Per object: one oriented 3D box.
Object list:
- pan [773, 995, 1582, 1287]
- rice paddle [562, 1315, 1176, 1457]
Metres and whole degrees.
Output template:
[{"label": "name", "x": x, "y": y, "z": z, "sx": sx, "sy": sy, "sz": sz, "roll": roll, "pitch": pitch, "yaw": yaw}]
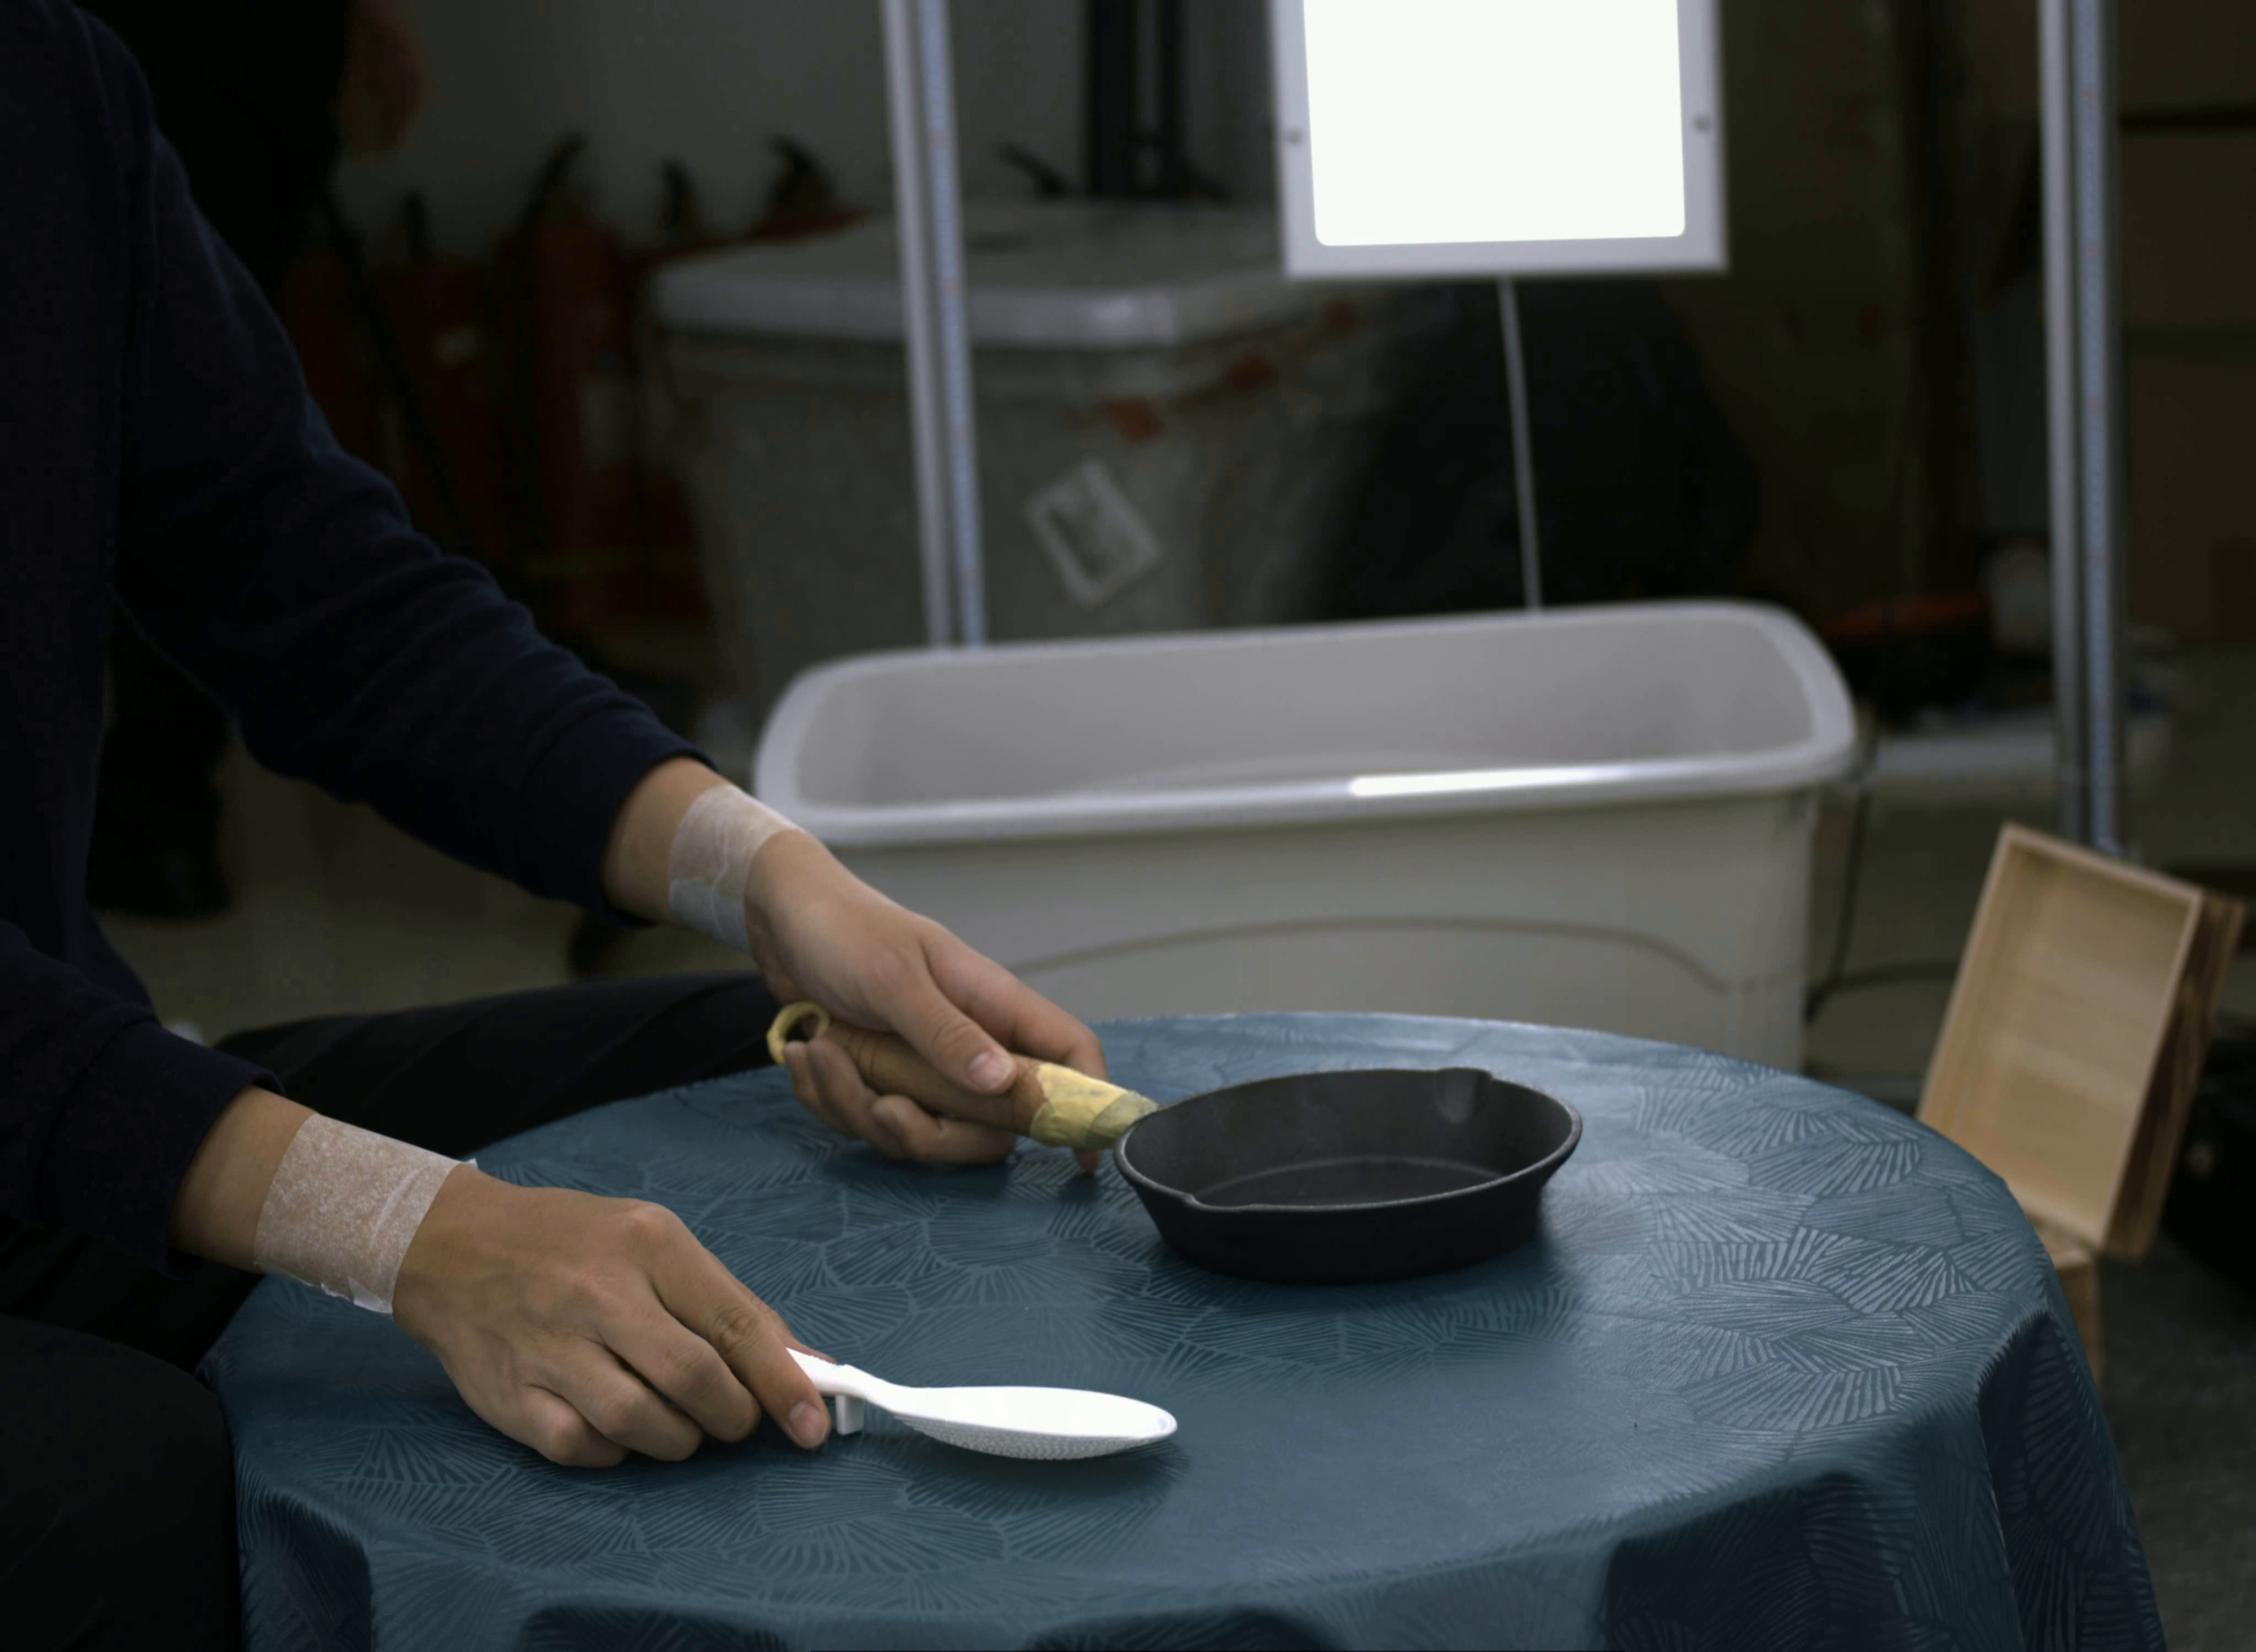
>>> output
[{"label": "pan", "x": 0.007, "y": 0.102, "z": 1.888, "sx": 0.331, "sy": 0.050, "sz": 0.165, "roll": 8, "pitch": 19, "yaw": 38}, {"label": "rice paddle", "x": -0.079, "y": 0.172, "z": 1.680, "sx": 0.209, "sy": 0.029, "sz": 0.067, "roll": 3, "pitch": 5, "yaw": 29}]
